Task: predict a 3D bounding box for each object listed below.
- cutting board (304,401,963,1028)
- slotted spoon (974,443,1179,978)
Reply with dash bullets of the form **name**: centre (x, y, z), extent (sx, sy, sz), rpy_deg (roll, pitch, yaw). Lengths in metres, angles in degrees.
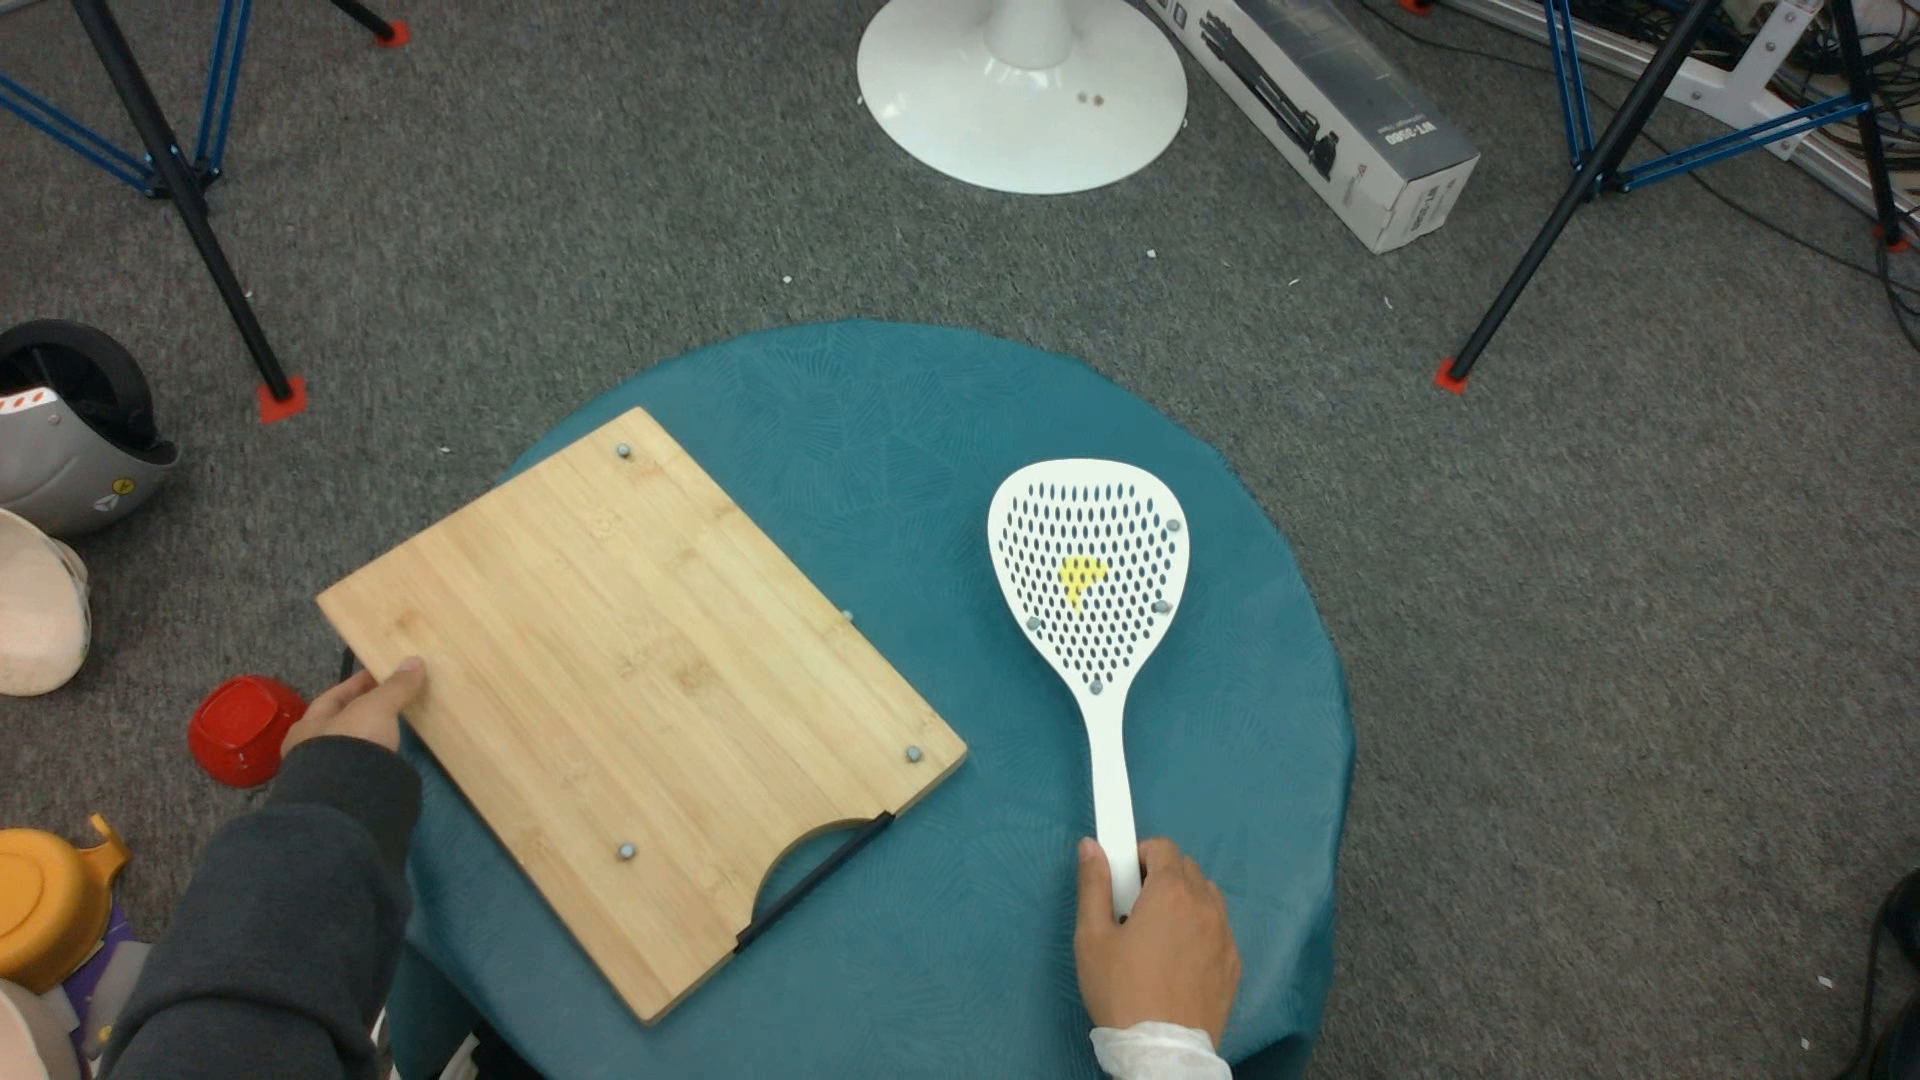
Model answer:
- **cutting board**: centre (-0.201, 0.083, 0.849), extent (0.252, 0.023, 0.349), rpy_deg (-38, 69, -26)
- **slotted spoon**: centre (0.082, 0.092, 0.861), extent (0.137, 0.050, 0.349), rpy_deg (0, 56, -7)
